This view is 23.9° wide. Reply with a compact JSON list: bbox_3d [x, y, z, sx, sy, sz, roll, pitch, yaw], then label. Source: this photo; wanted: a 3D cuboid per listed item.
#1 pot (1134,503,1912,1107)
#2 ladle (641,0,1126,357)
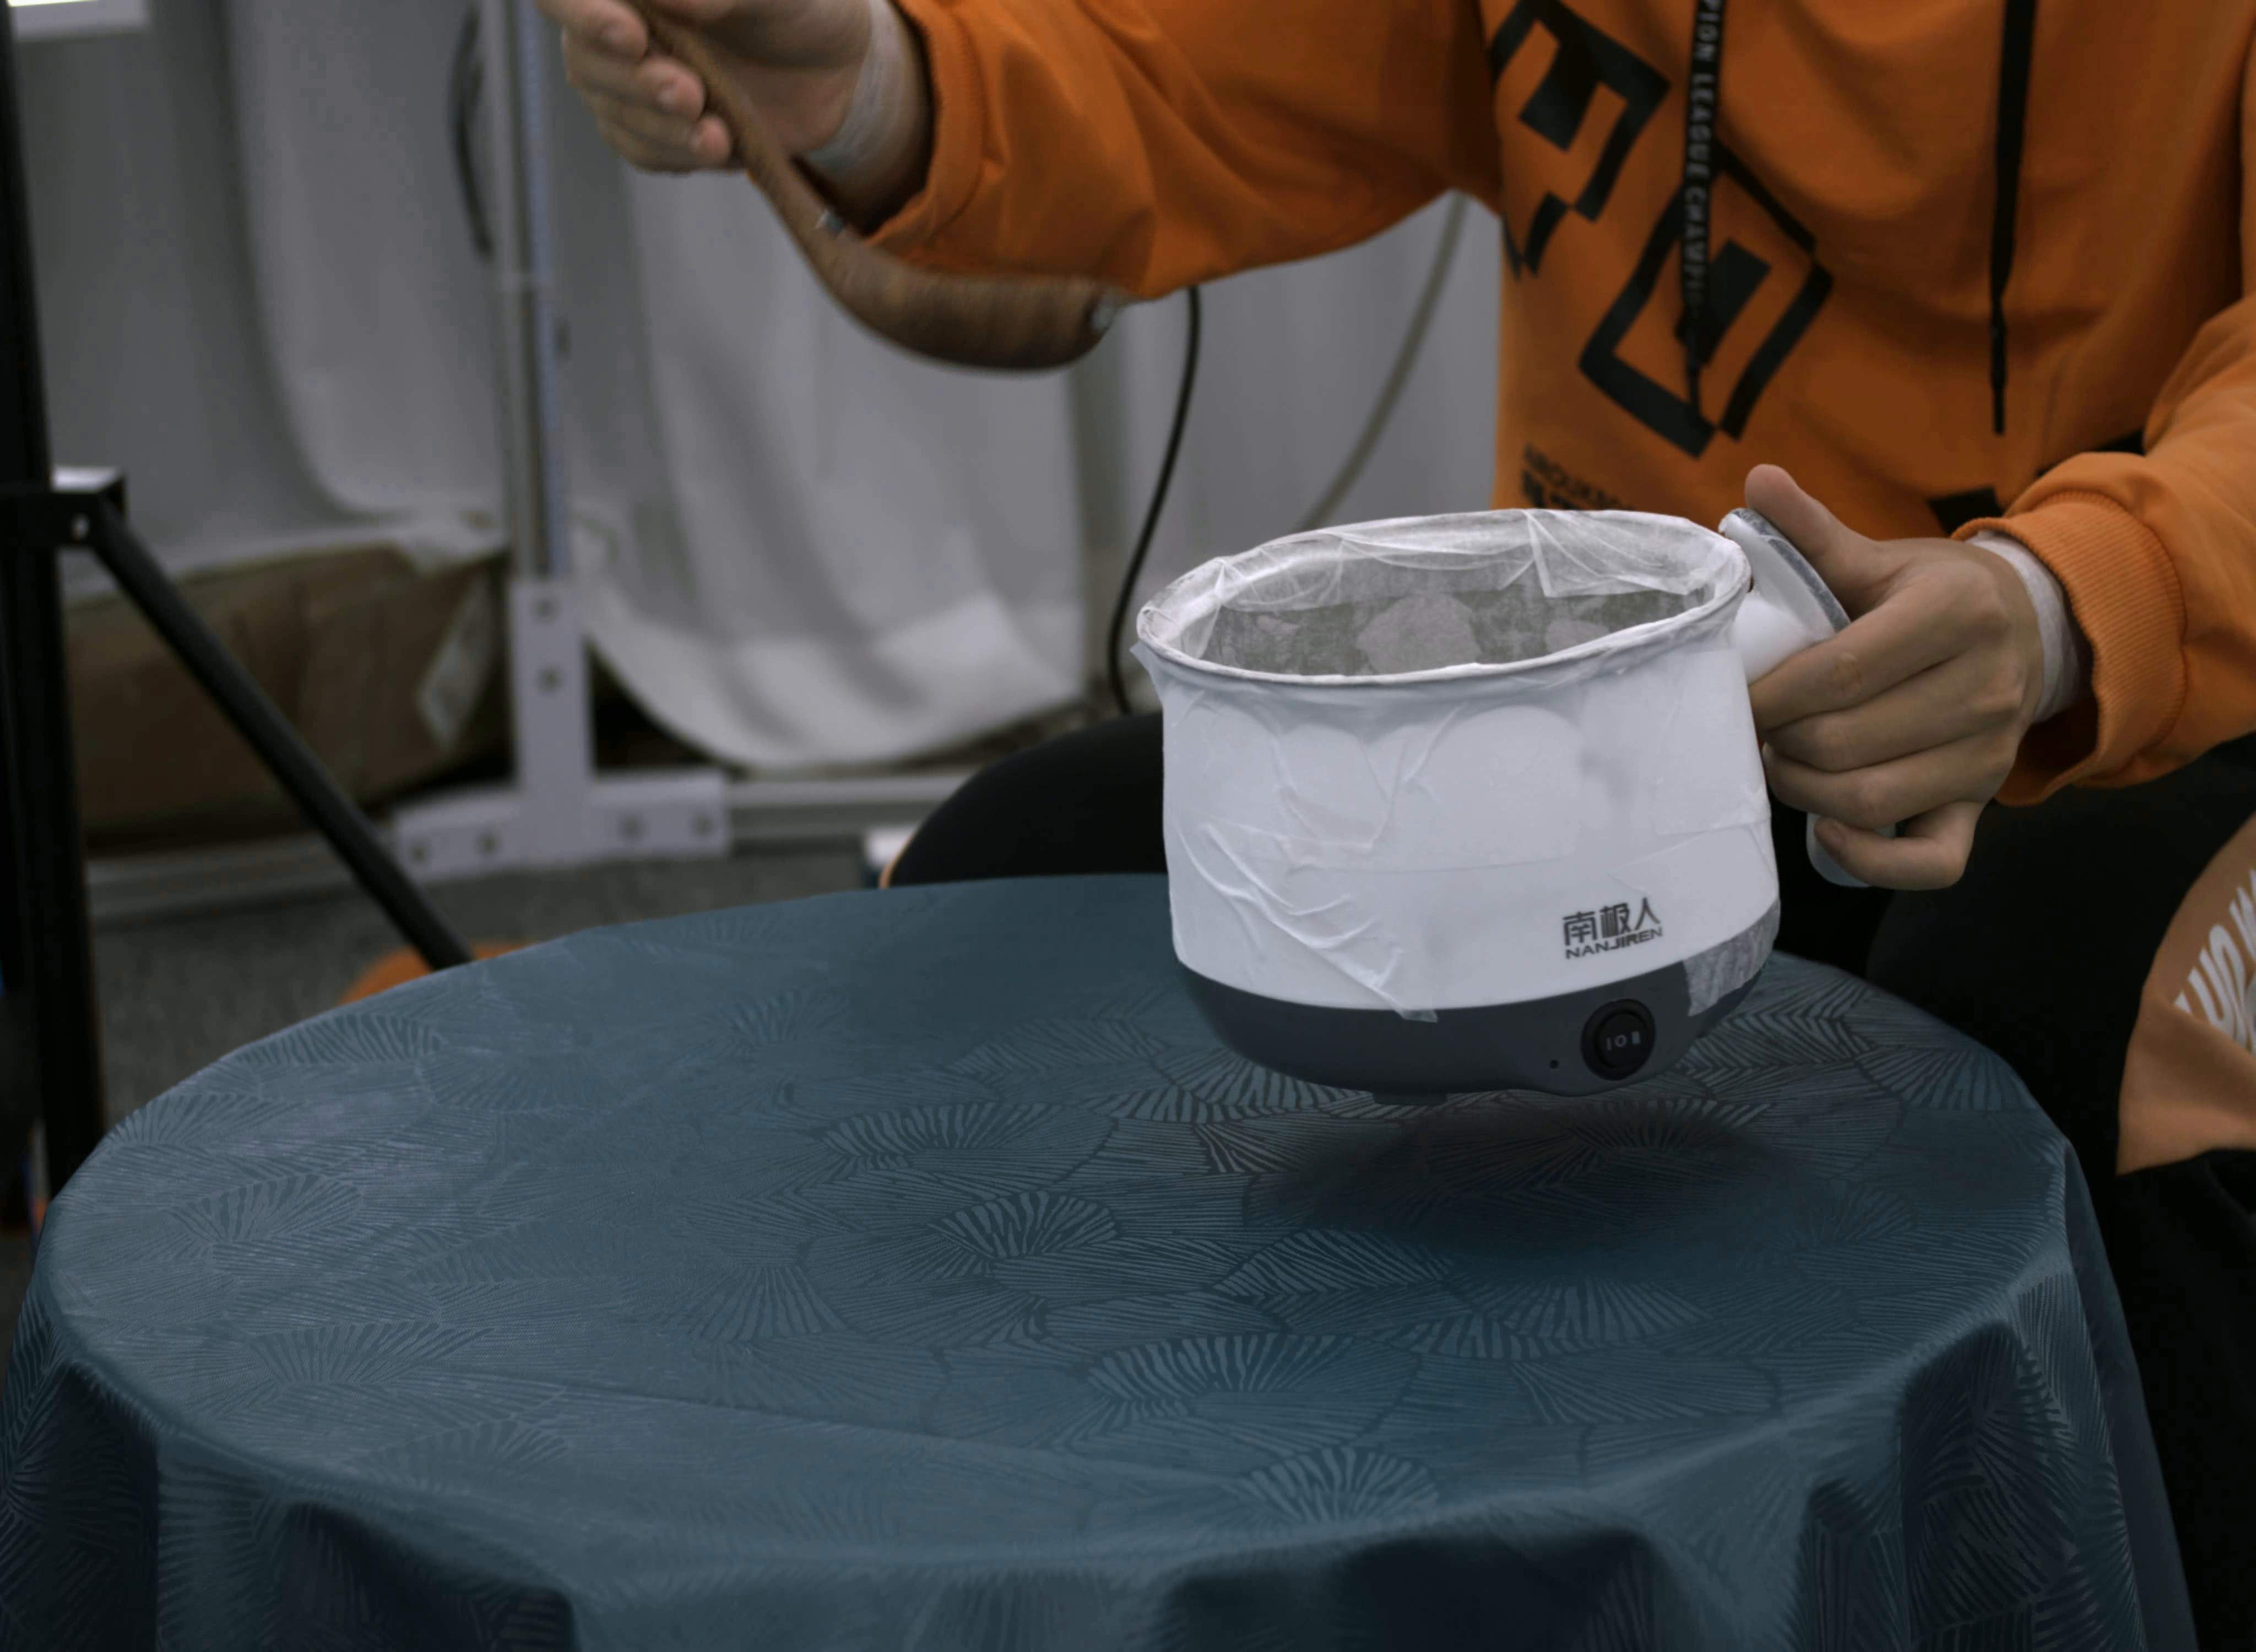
[{"bbox_3d":[0.121,-0.013,1.546,0.229,0.136,0.182,-14,19,-21],"label":"pot"},{"bbox_3d":[-0.106,-0.229,1.621,0.263,0.065,0.075,45,12,15],"label":"ladle"}]
